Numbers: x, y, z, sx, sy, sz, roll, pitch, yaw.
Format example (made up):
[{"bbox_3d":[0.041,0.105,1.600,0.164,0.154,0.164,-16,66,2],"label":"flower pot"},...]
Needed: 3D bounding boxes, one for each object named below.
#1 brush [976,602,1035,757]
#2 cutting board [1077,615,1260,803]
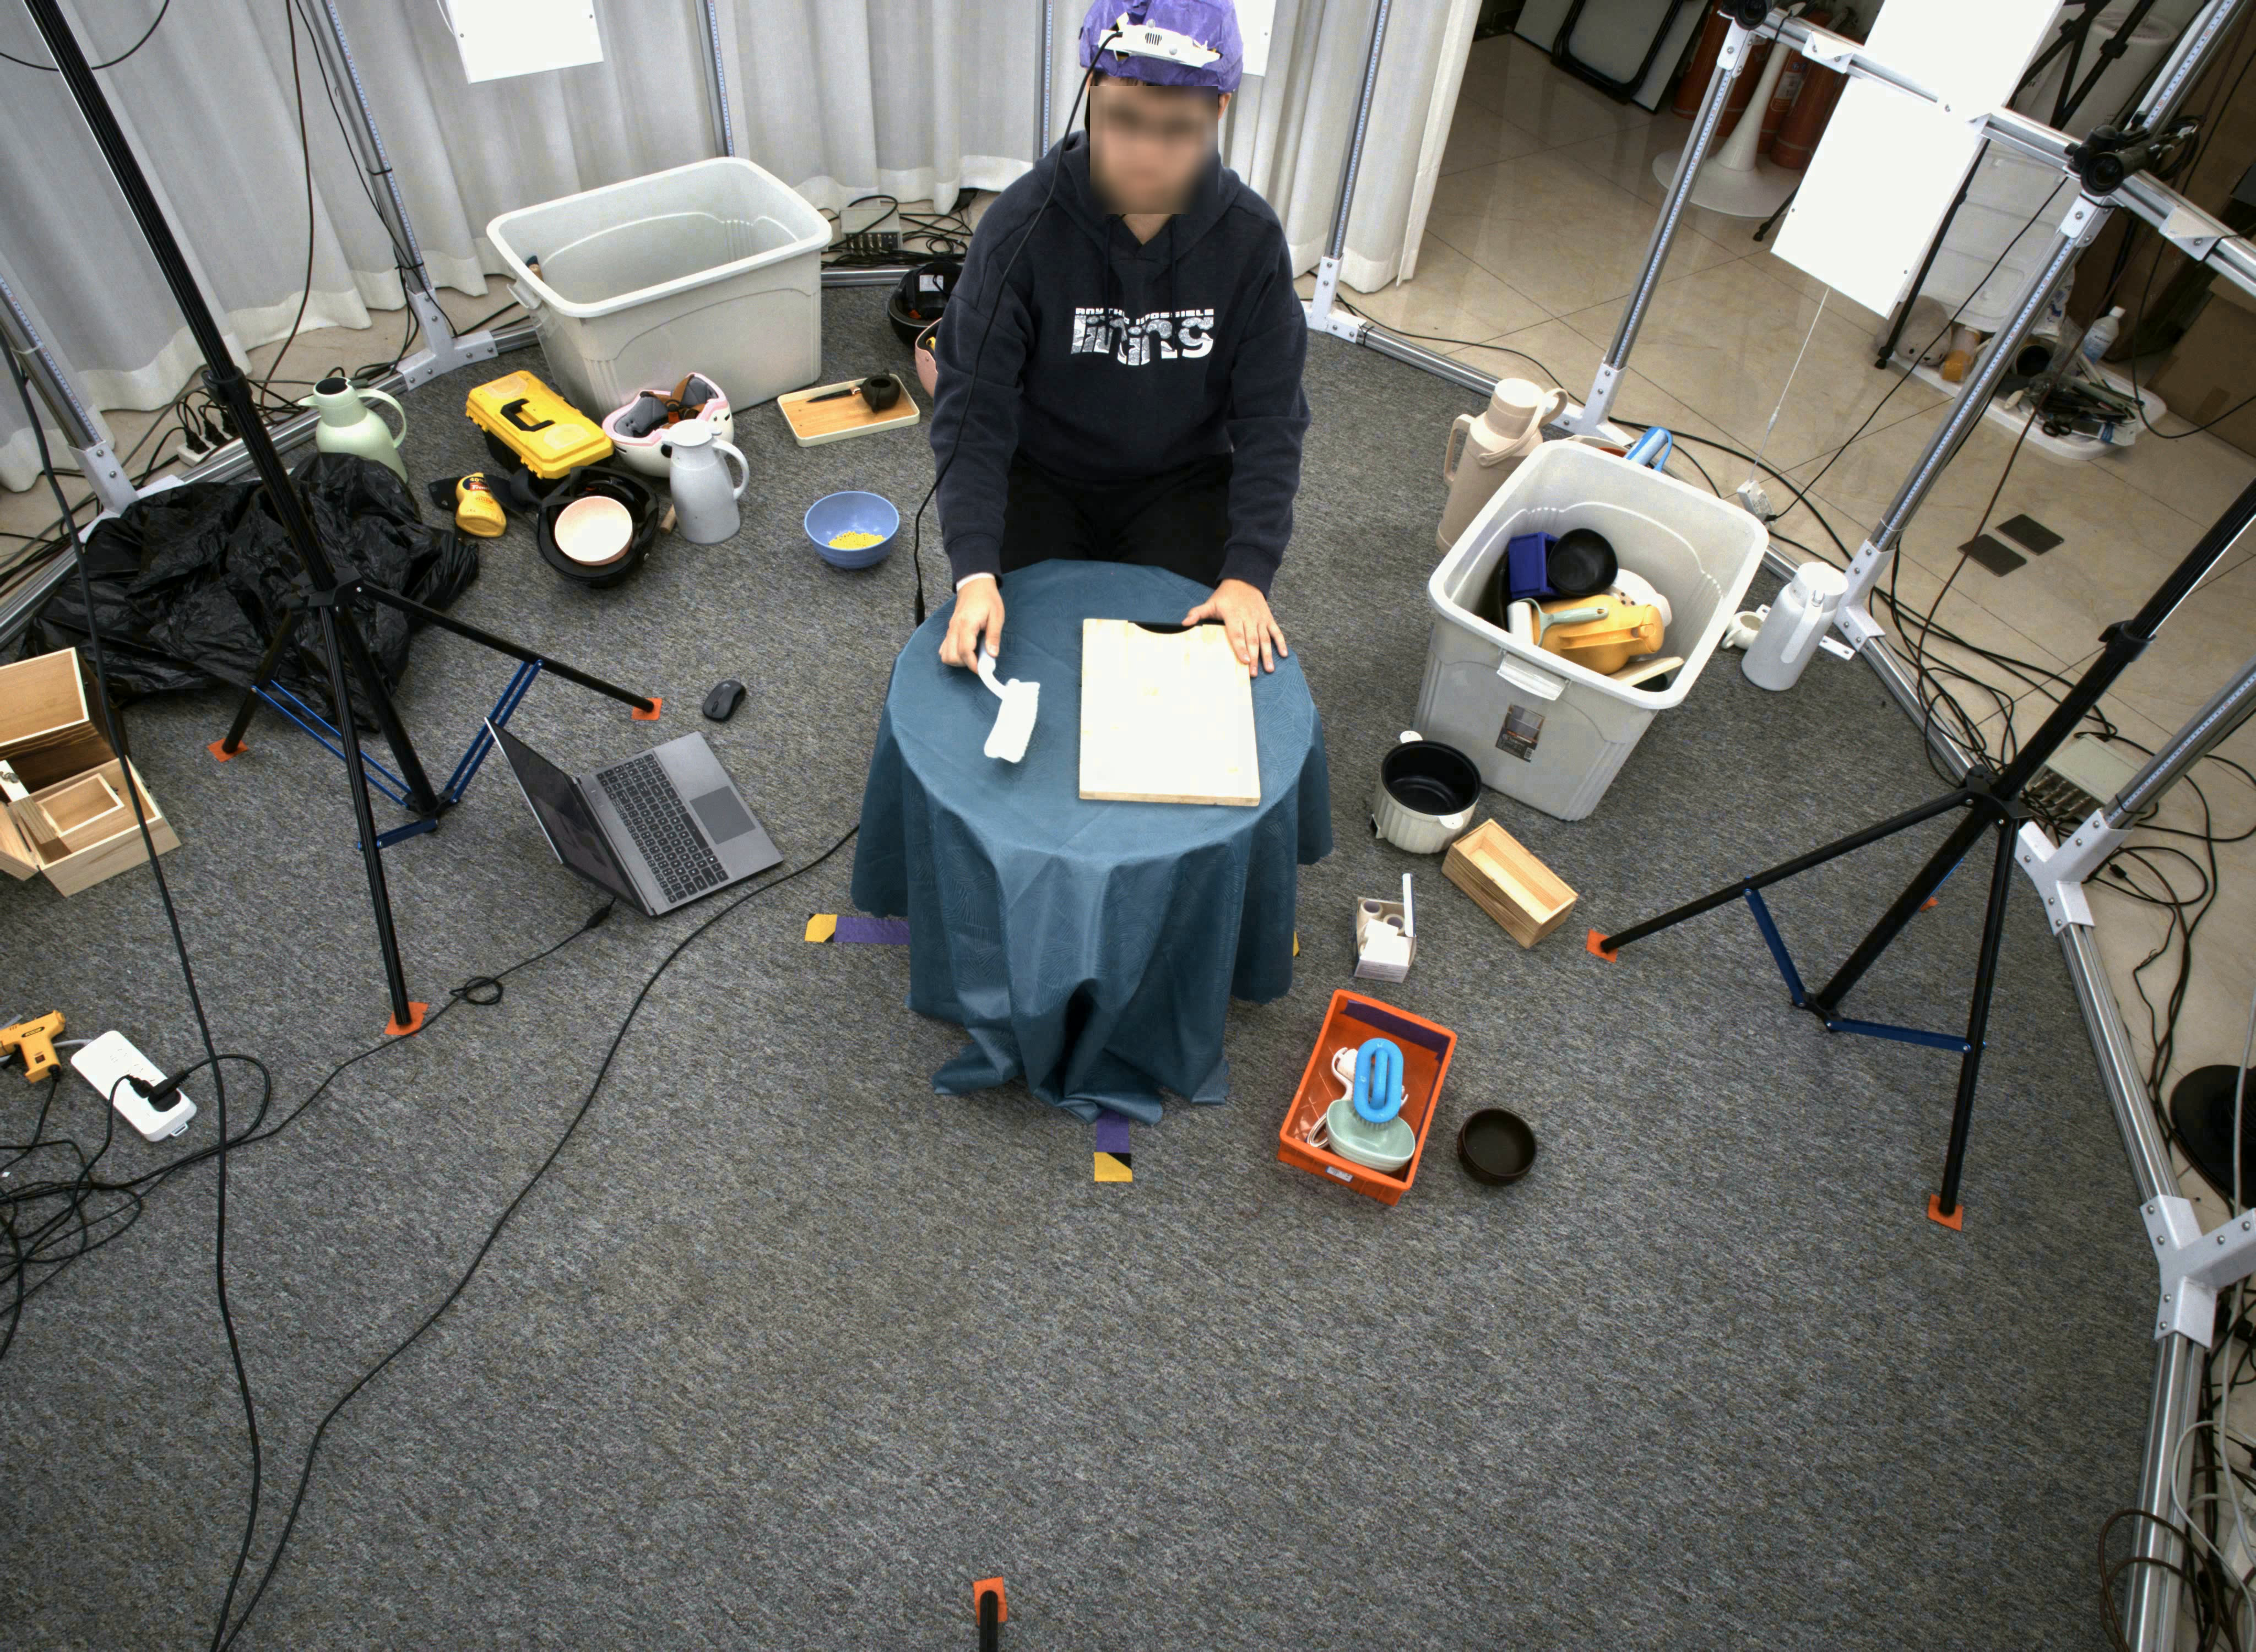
[{"bbox_3d":[-0.159,-0.214,1.785,0.083,0.082,0.334,29,35,-28],"label":"brush"},{"bbox_3d":[0.055,-0.171,1.808,0.250,0.023,0.357,2,49,-4],"label":"cutting board"}]
